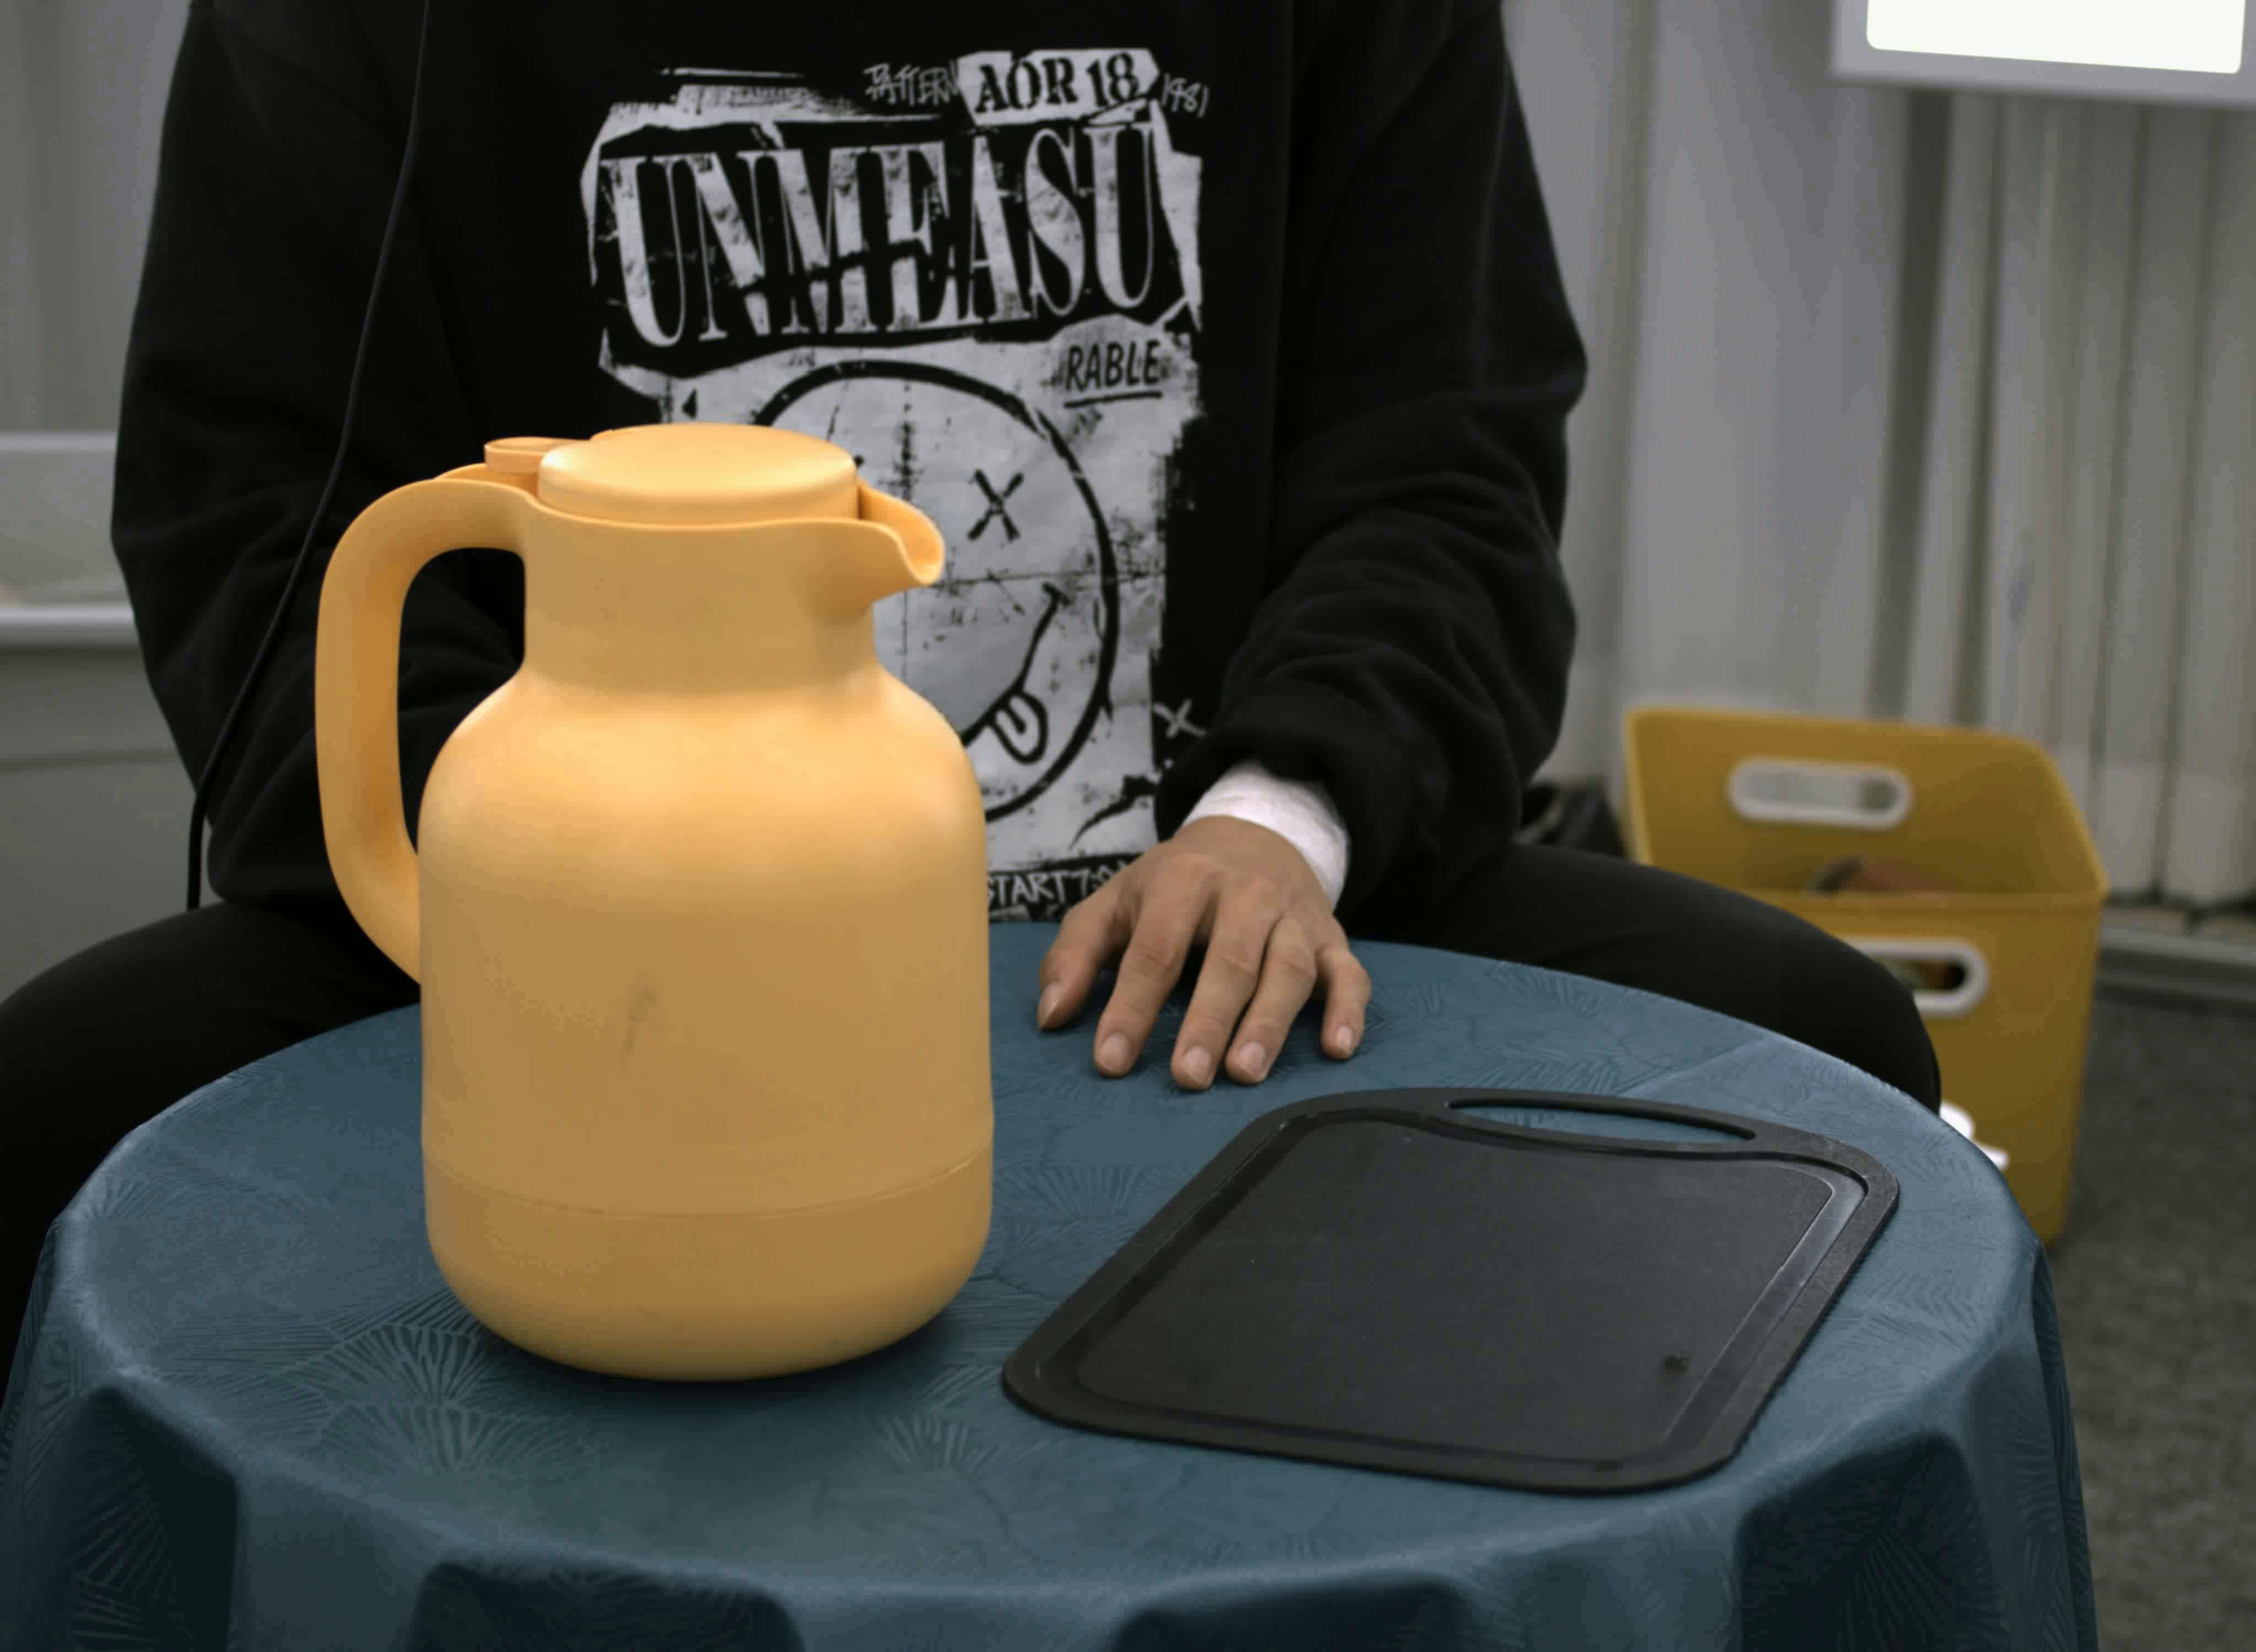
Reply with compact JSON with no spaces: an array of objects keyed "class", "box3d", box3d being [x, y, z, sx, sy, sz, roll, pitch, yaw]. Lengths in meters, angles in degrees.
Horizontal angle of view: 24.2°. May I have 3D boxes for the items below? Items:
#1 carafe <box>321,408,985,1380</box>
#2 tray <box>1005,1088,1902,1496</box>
[{"class":"carafe","box3d":[-0.137,0.012,1.487,0.200,0.262,0.164,10,16,26]},{"class":"tray","box3d":[0.104,0.128,1.557,0.209,0.010,0.325,6,16,19]}]
